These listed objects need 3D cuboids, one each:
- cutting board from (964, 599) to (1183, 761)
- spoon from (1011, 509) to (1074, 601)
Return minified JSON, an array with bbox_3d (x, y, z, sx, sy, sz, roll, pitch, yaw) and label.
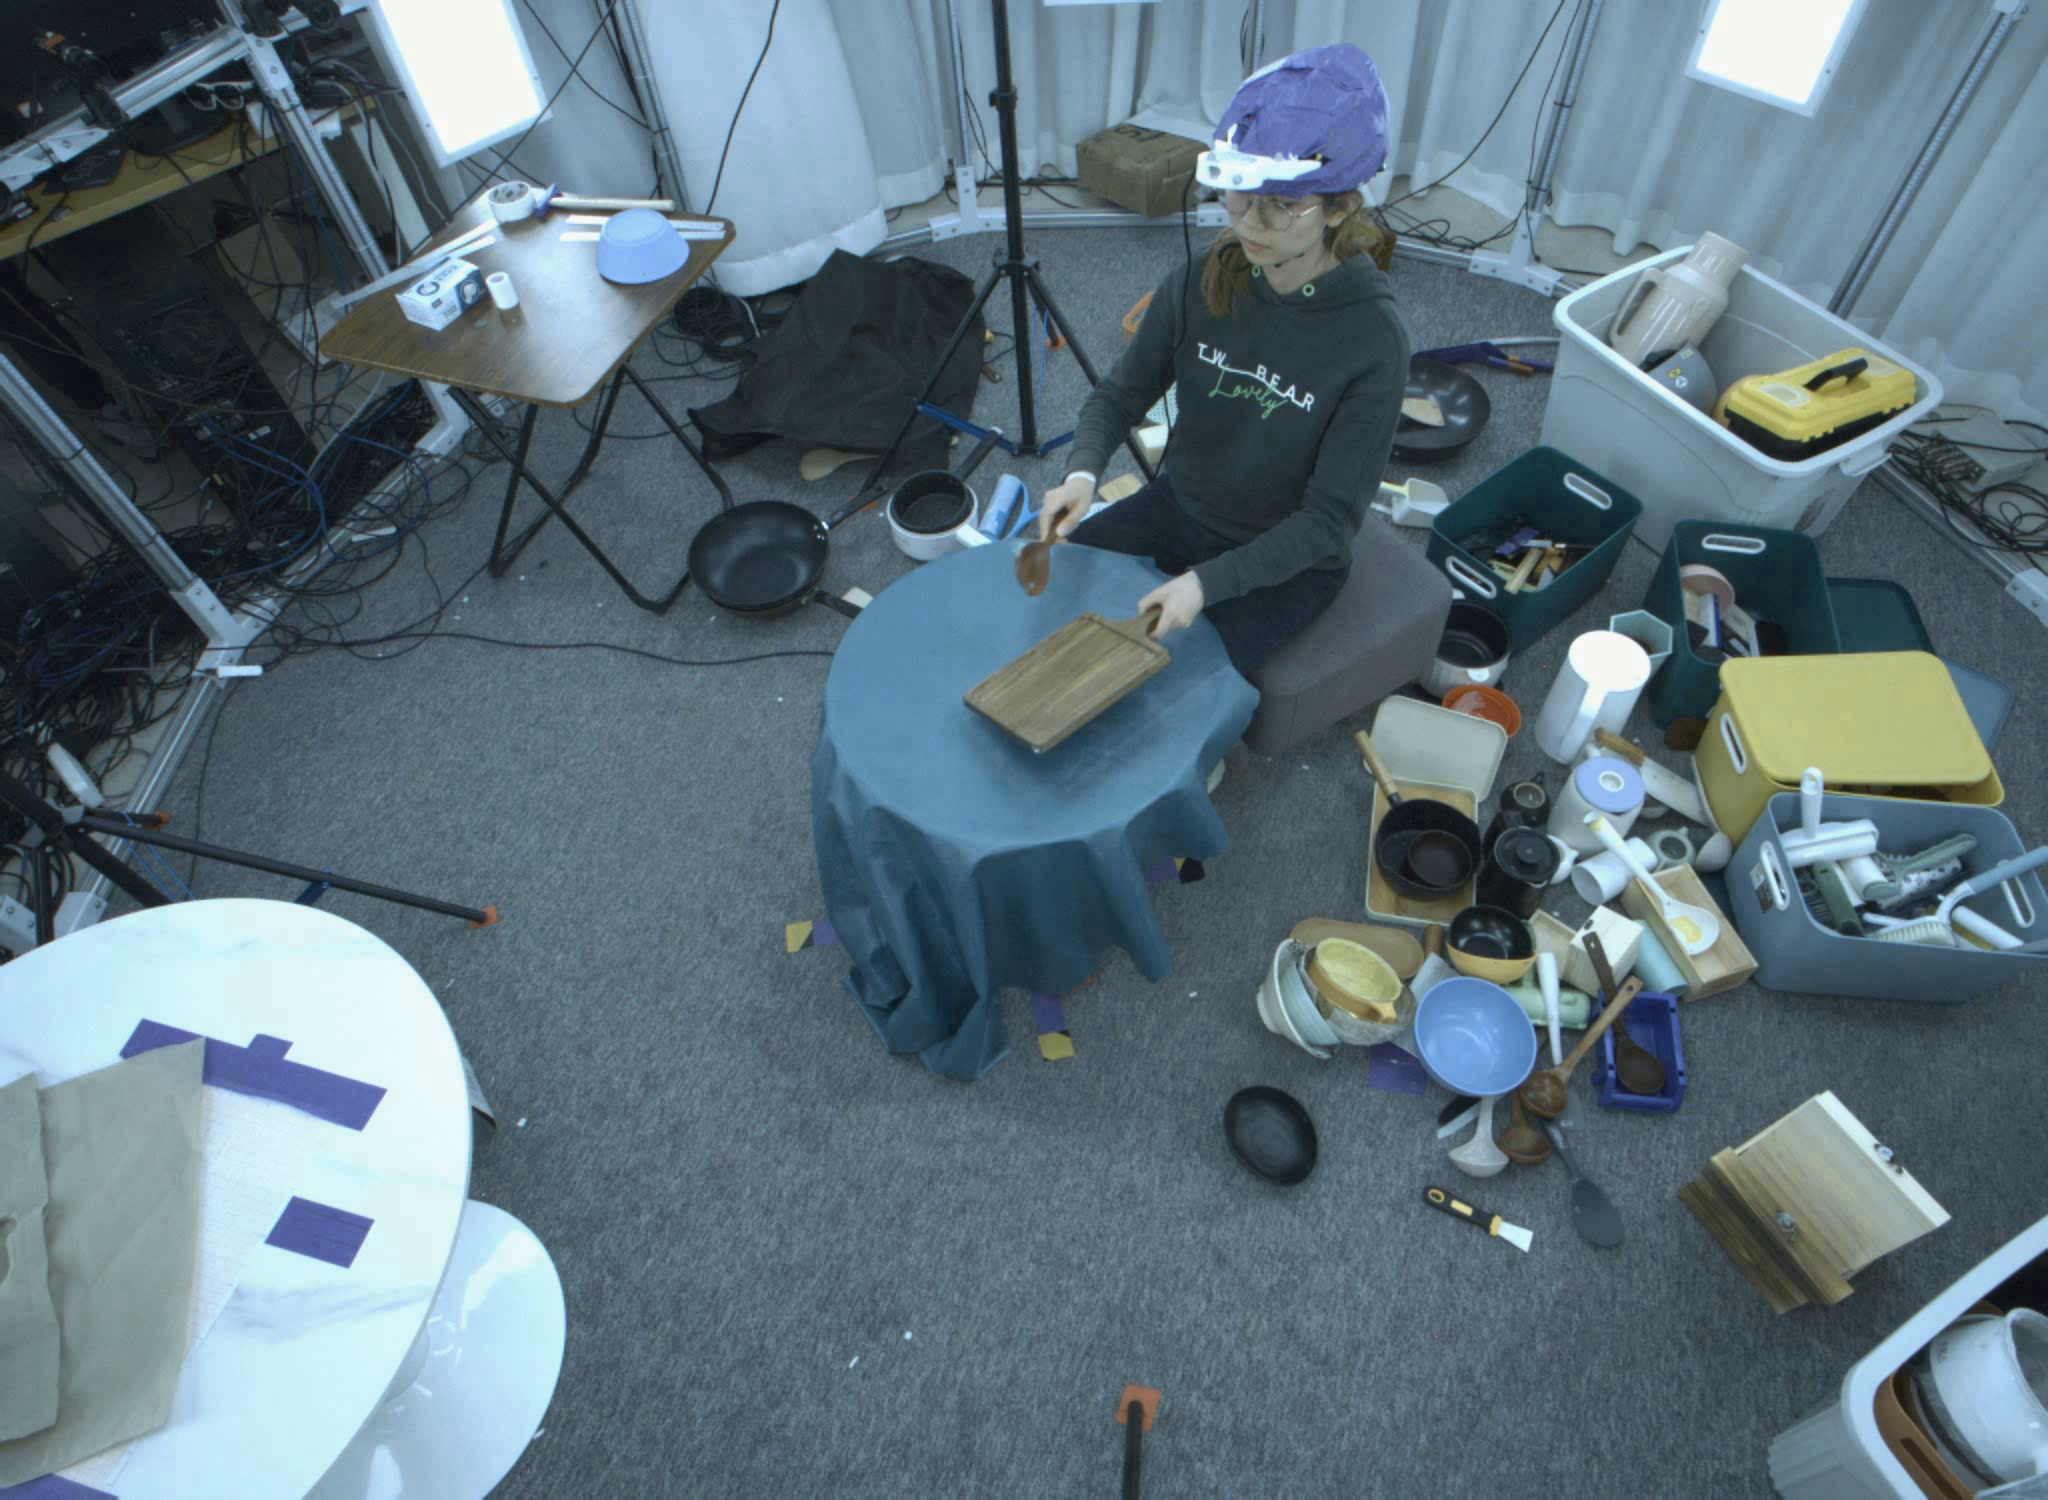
[{"bbox_3d":[0.100,-0.121,1.798,0.355,0.023,0.196,-36,42,-20],"label":"cutting board"},{"bbox_3d":[0.030,-0.295,1.816,0.017,0.077,0.216,-11,35,37],"label":"spoon"}]
